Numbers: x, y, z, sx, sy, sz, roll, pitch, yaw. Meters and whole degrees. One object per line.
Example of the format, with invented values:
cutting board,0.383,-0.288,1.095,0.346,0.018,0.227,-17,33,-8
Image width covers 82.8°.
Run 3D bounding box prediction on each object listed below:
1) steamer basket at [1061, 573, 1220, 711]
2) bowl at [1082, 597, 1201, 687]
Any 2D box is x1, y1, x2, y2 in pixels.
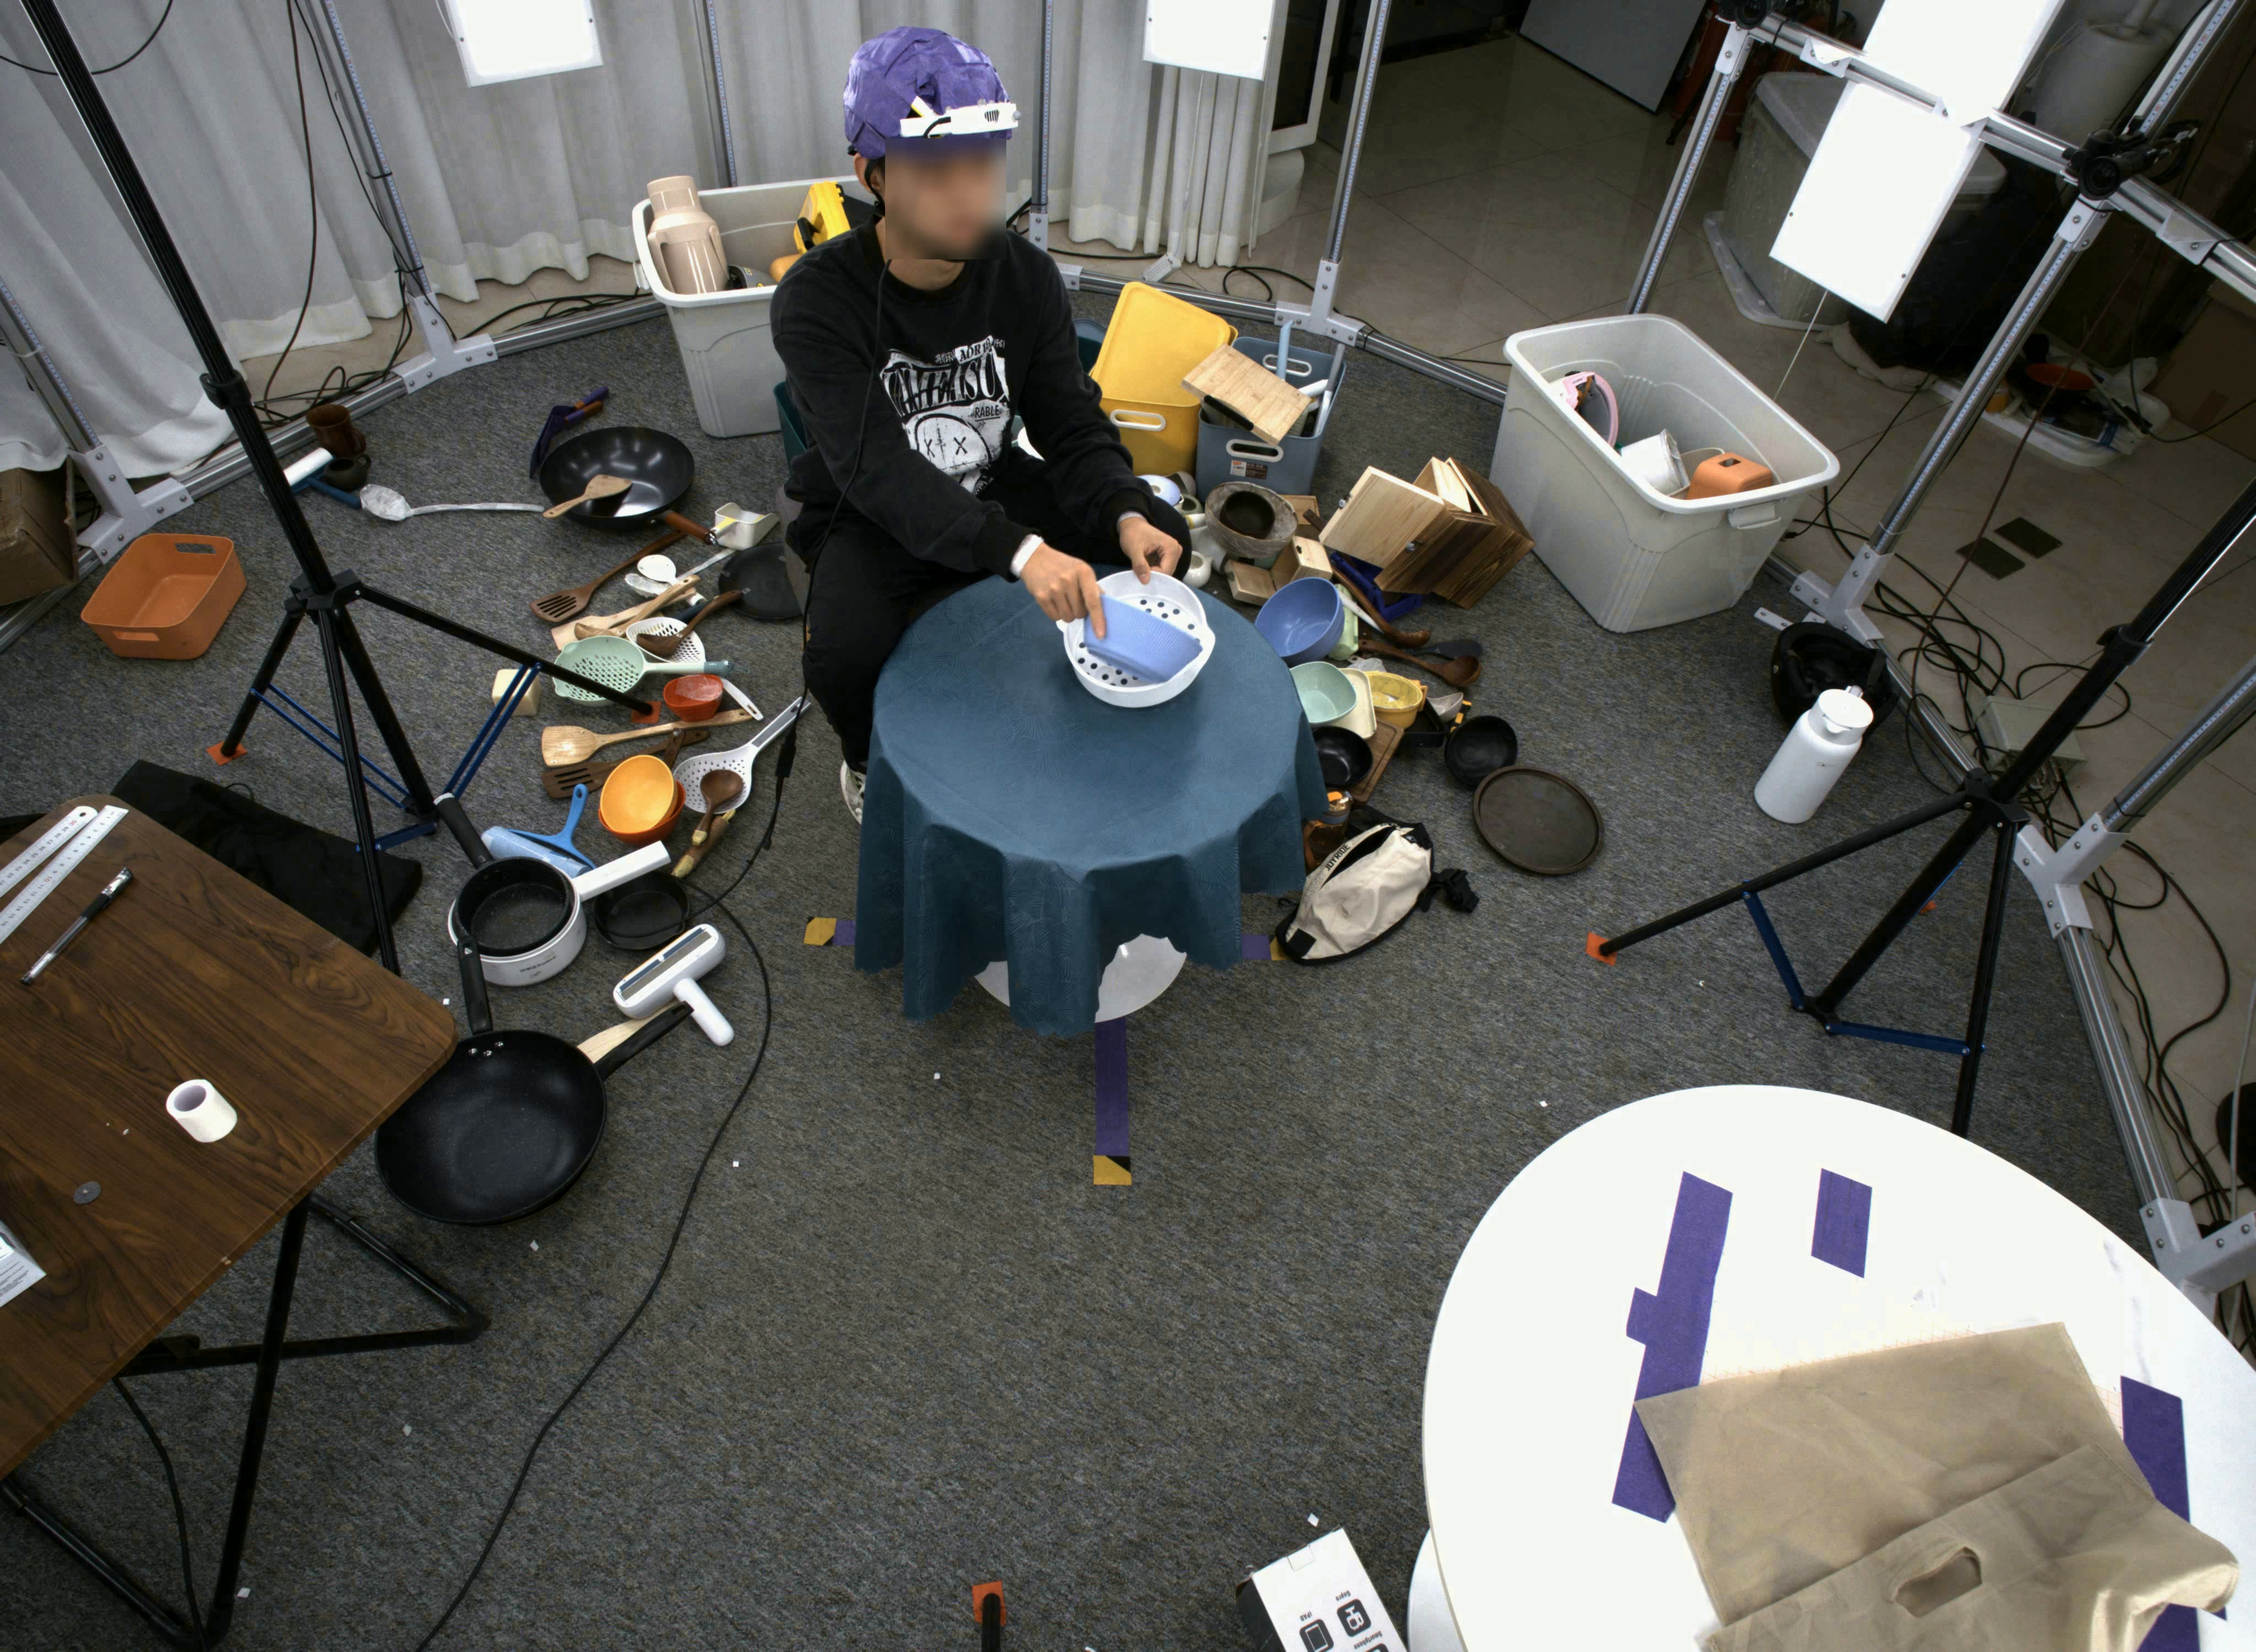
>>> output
steamer basket,0.019,-0.262,1.841,0.232,0.068,0.205,19,67,14
bowl,0.006,-0.240,1.725,0.177,0.174,0.070,25,89,16
